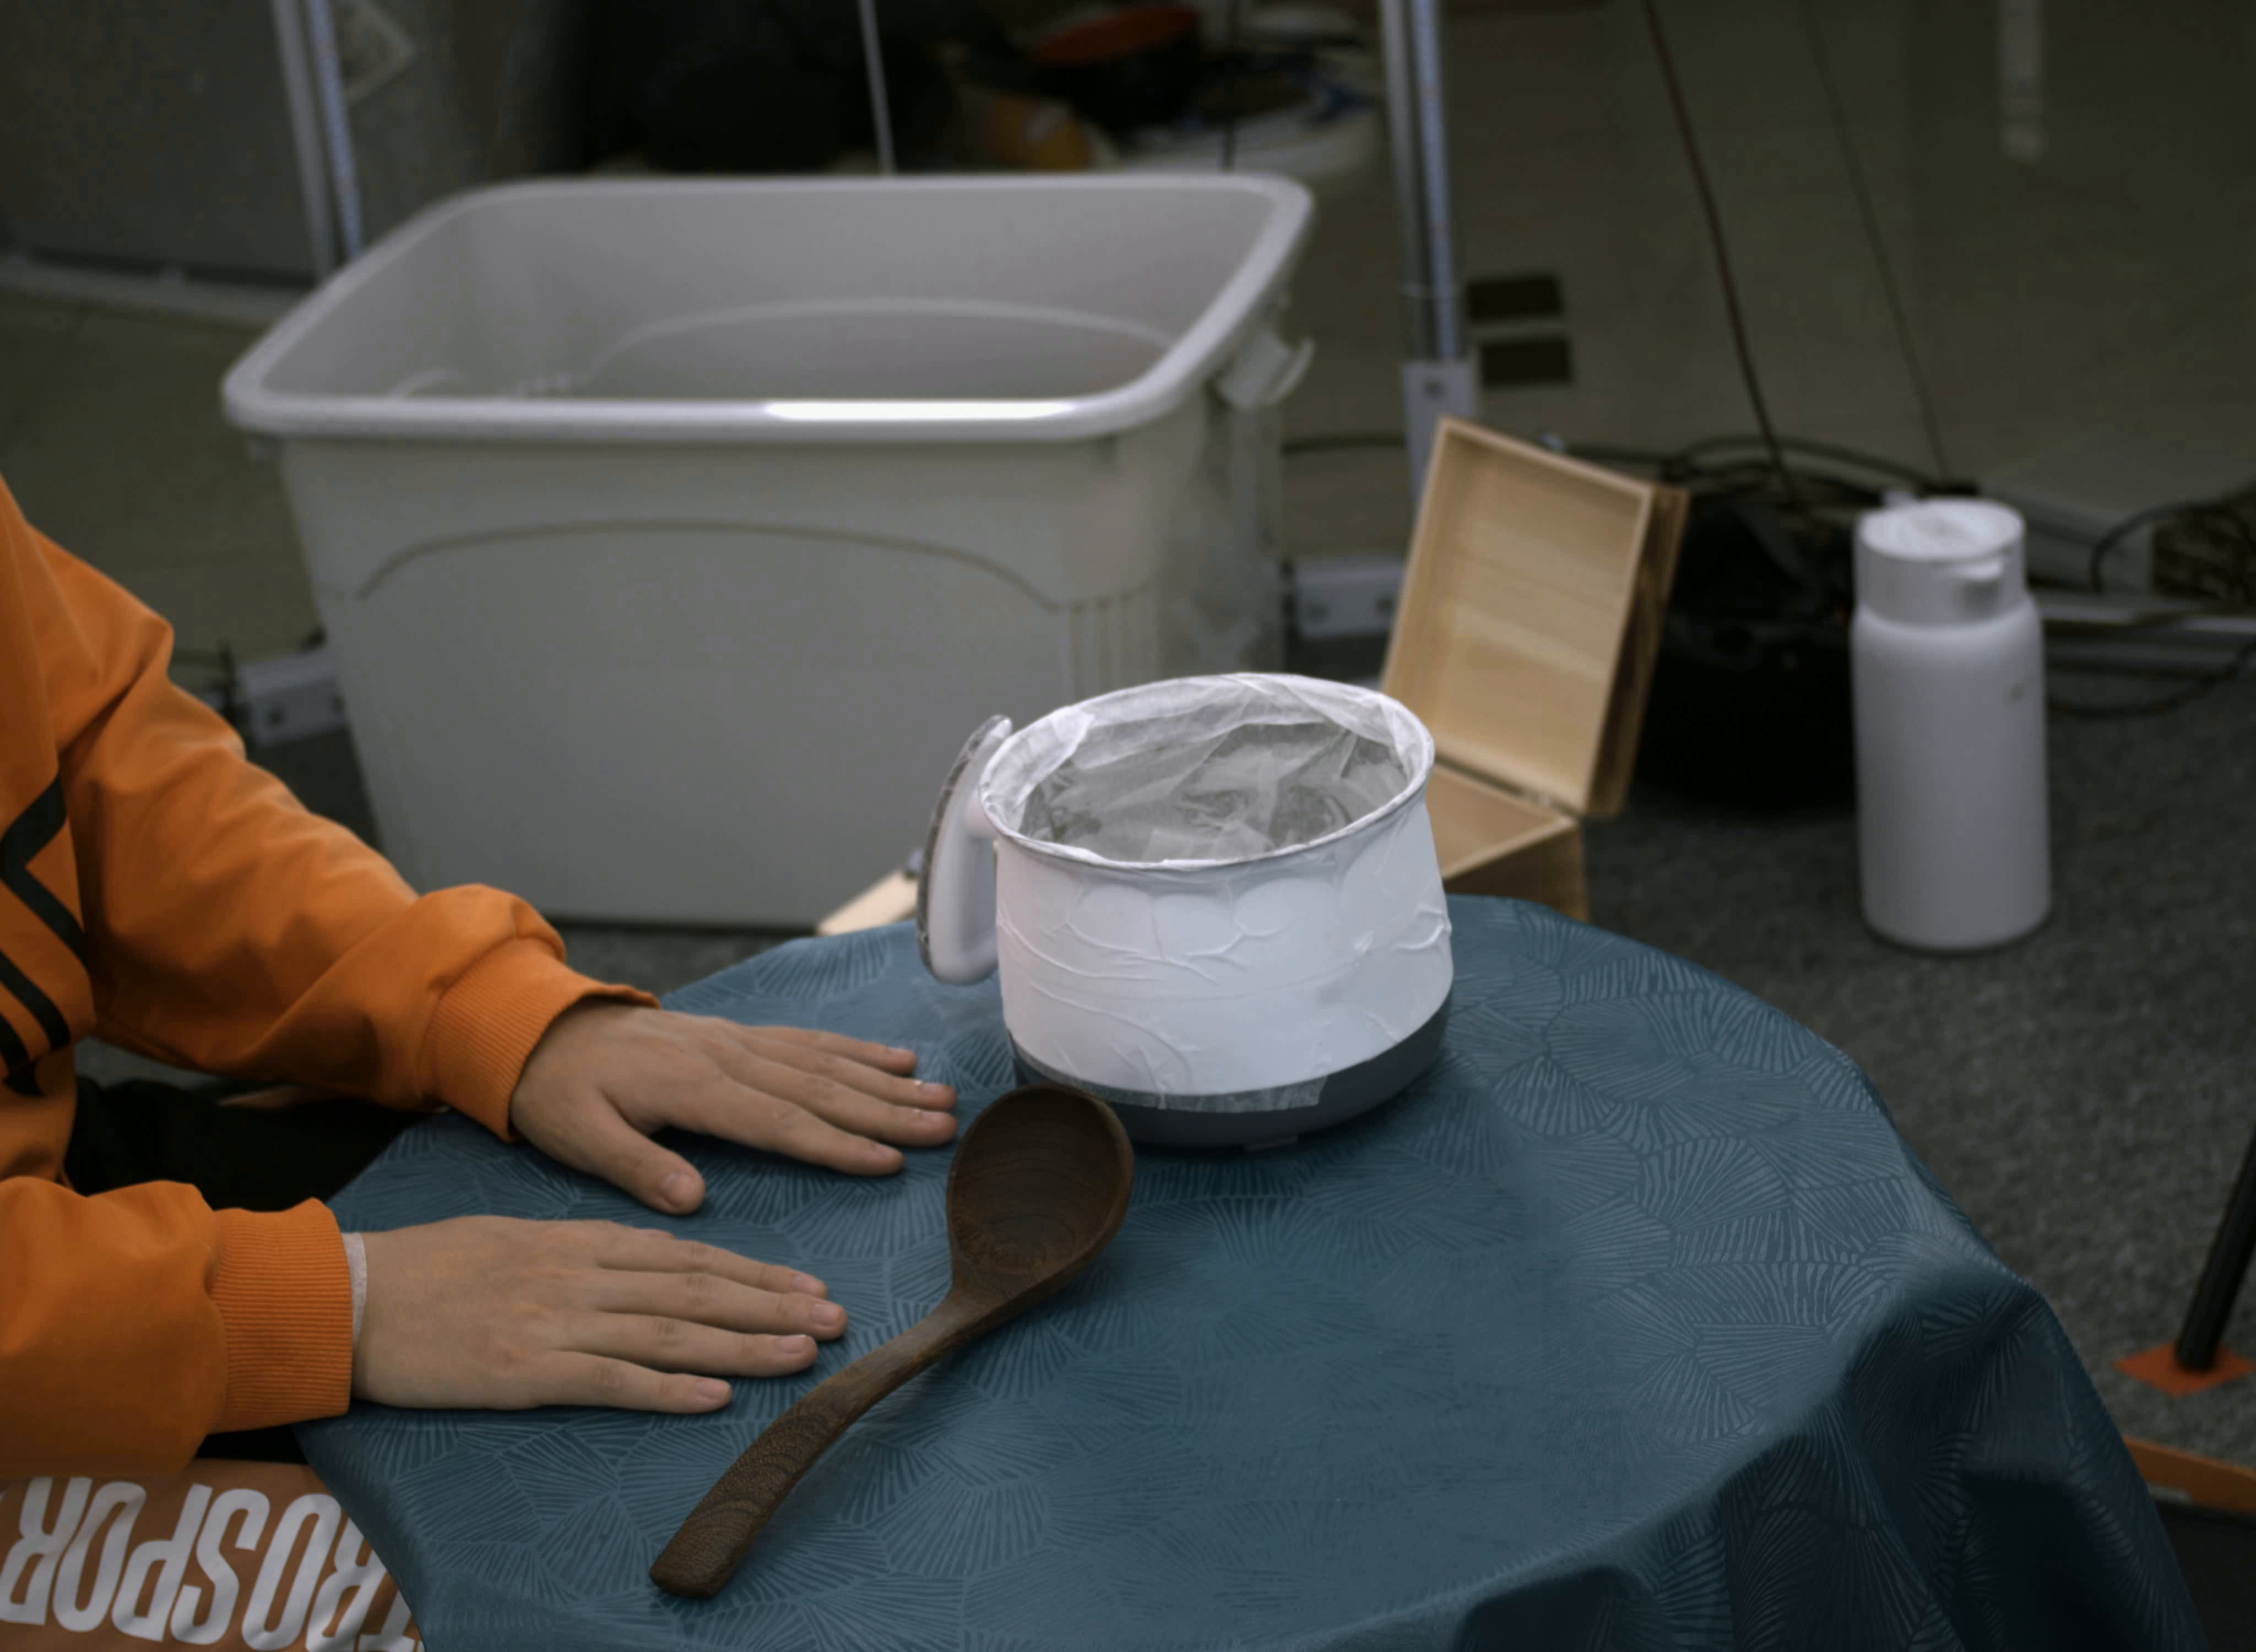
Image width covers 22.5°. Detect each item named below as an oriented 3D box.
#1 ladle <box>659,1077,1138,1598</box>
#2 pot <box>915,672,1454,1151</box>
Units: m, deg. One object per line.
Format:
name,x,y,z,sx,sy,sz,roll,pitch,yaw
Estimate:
ladle,-0.085,0.175,2.007,0.076,0.072,0.271,7,28,31
pot,0.013,0.030,2.212,0.232,0.139,0.177,11,30,32
